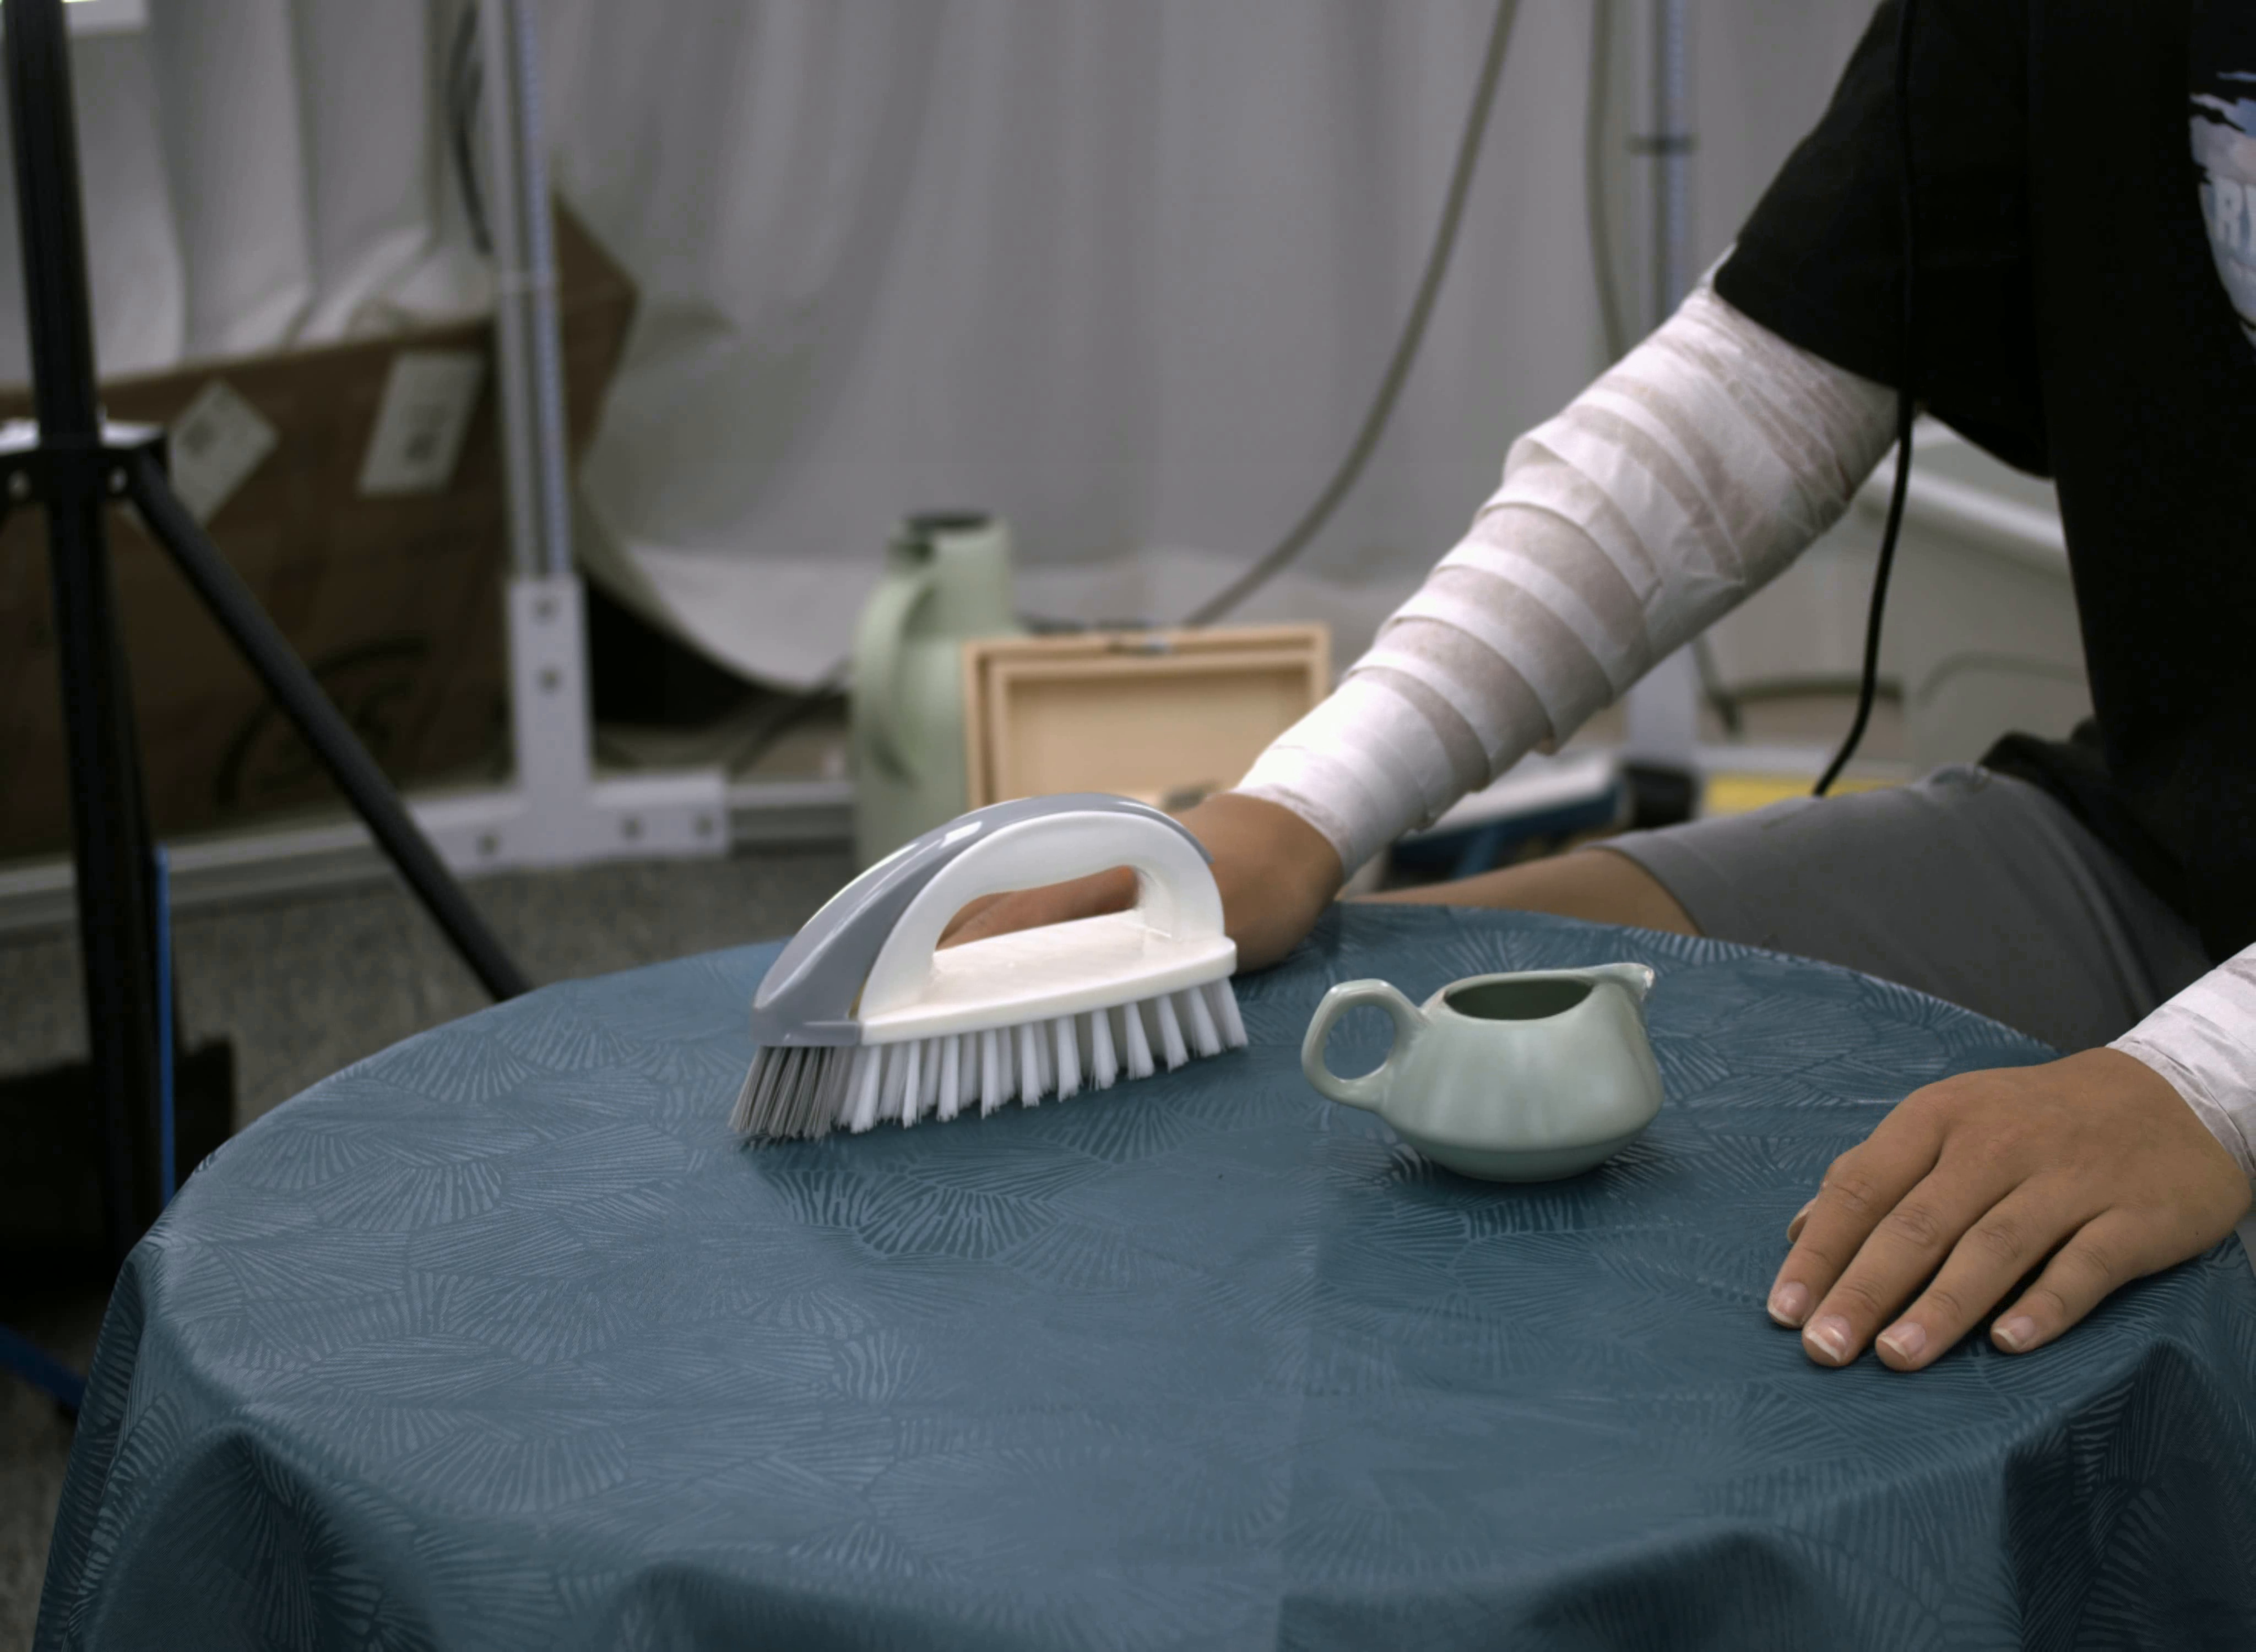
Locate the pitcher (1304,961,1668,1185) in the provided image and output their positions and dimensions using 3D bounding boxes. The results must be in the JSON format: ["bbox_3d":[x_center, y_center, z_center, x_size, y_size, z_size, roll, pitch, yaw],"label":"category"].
[{"bbox_3d":[0.105,0.073,1.565,0.107,0.060,0.087,-7,15,-8],"label":"pitcher"}]

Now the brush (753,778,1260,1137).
[{"bbox_3d":[-0.043,0.038,1.646,0.172,0.094,0.063,-13,15,-29],"label":"brush"}]
